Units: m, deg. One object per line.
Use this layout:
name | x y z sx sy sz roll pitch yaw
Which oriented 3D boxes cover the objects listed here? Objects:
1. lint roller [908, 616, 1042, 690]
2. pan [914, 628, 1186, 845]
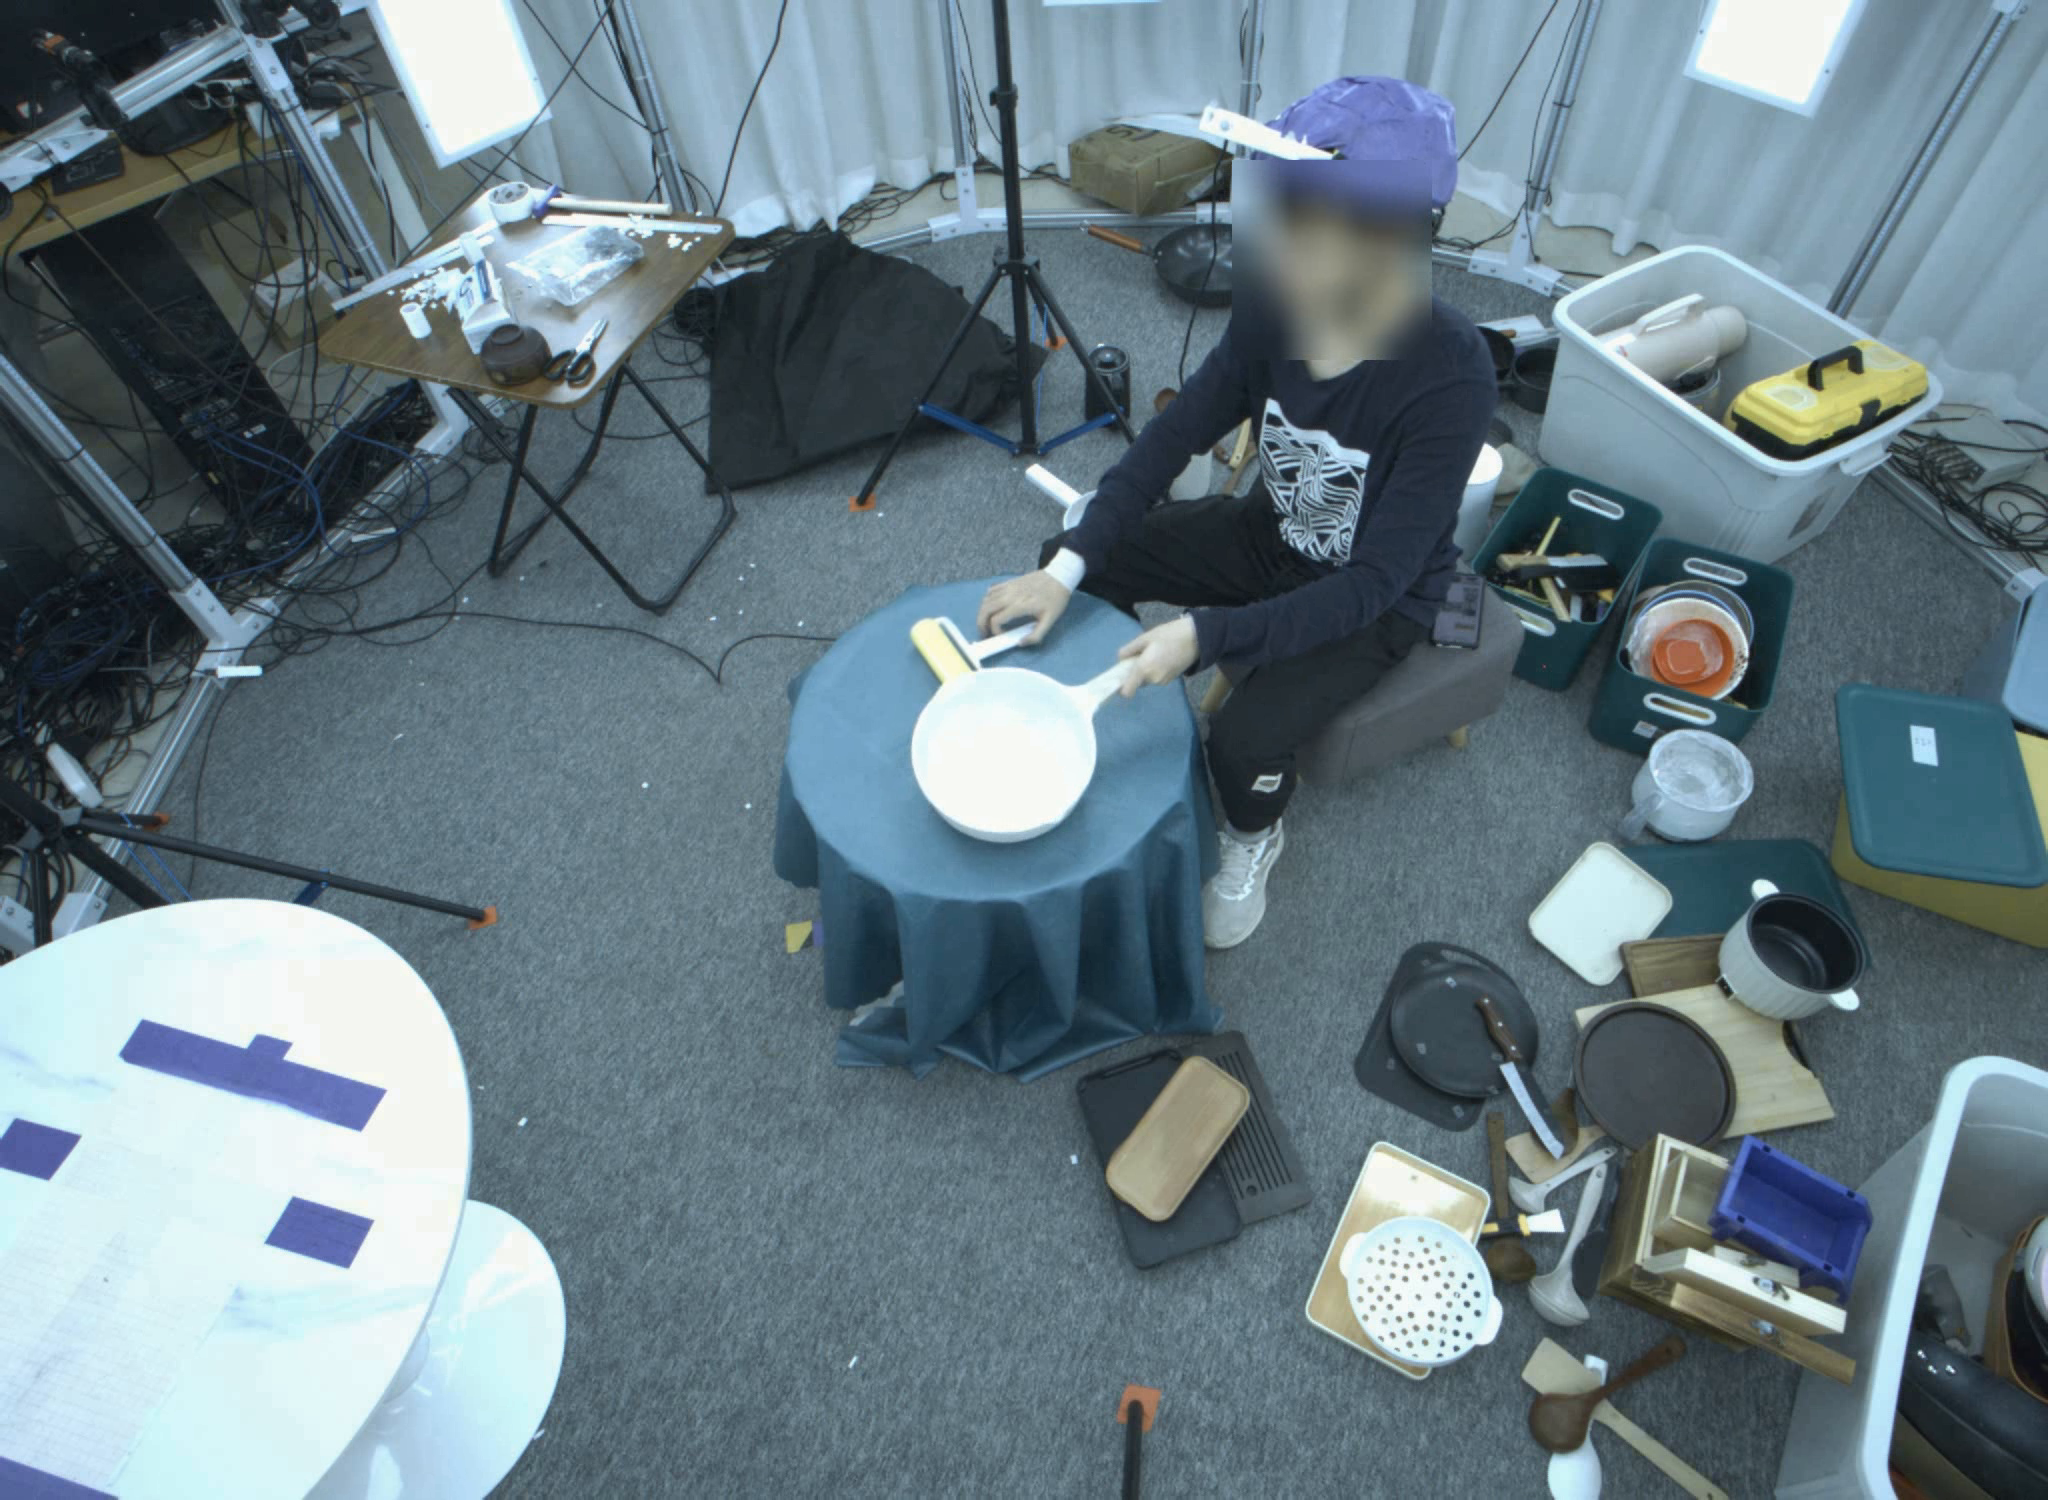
lint roller | -0.057 -0.165 1.886 0.193 0.052 0.171 -26 58 -17
pan | 0.051 -0.032 1.733 0.438 0.103 0.259 -32 66 -16
